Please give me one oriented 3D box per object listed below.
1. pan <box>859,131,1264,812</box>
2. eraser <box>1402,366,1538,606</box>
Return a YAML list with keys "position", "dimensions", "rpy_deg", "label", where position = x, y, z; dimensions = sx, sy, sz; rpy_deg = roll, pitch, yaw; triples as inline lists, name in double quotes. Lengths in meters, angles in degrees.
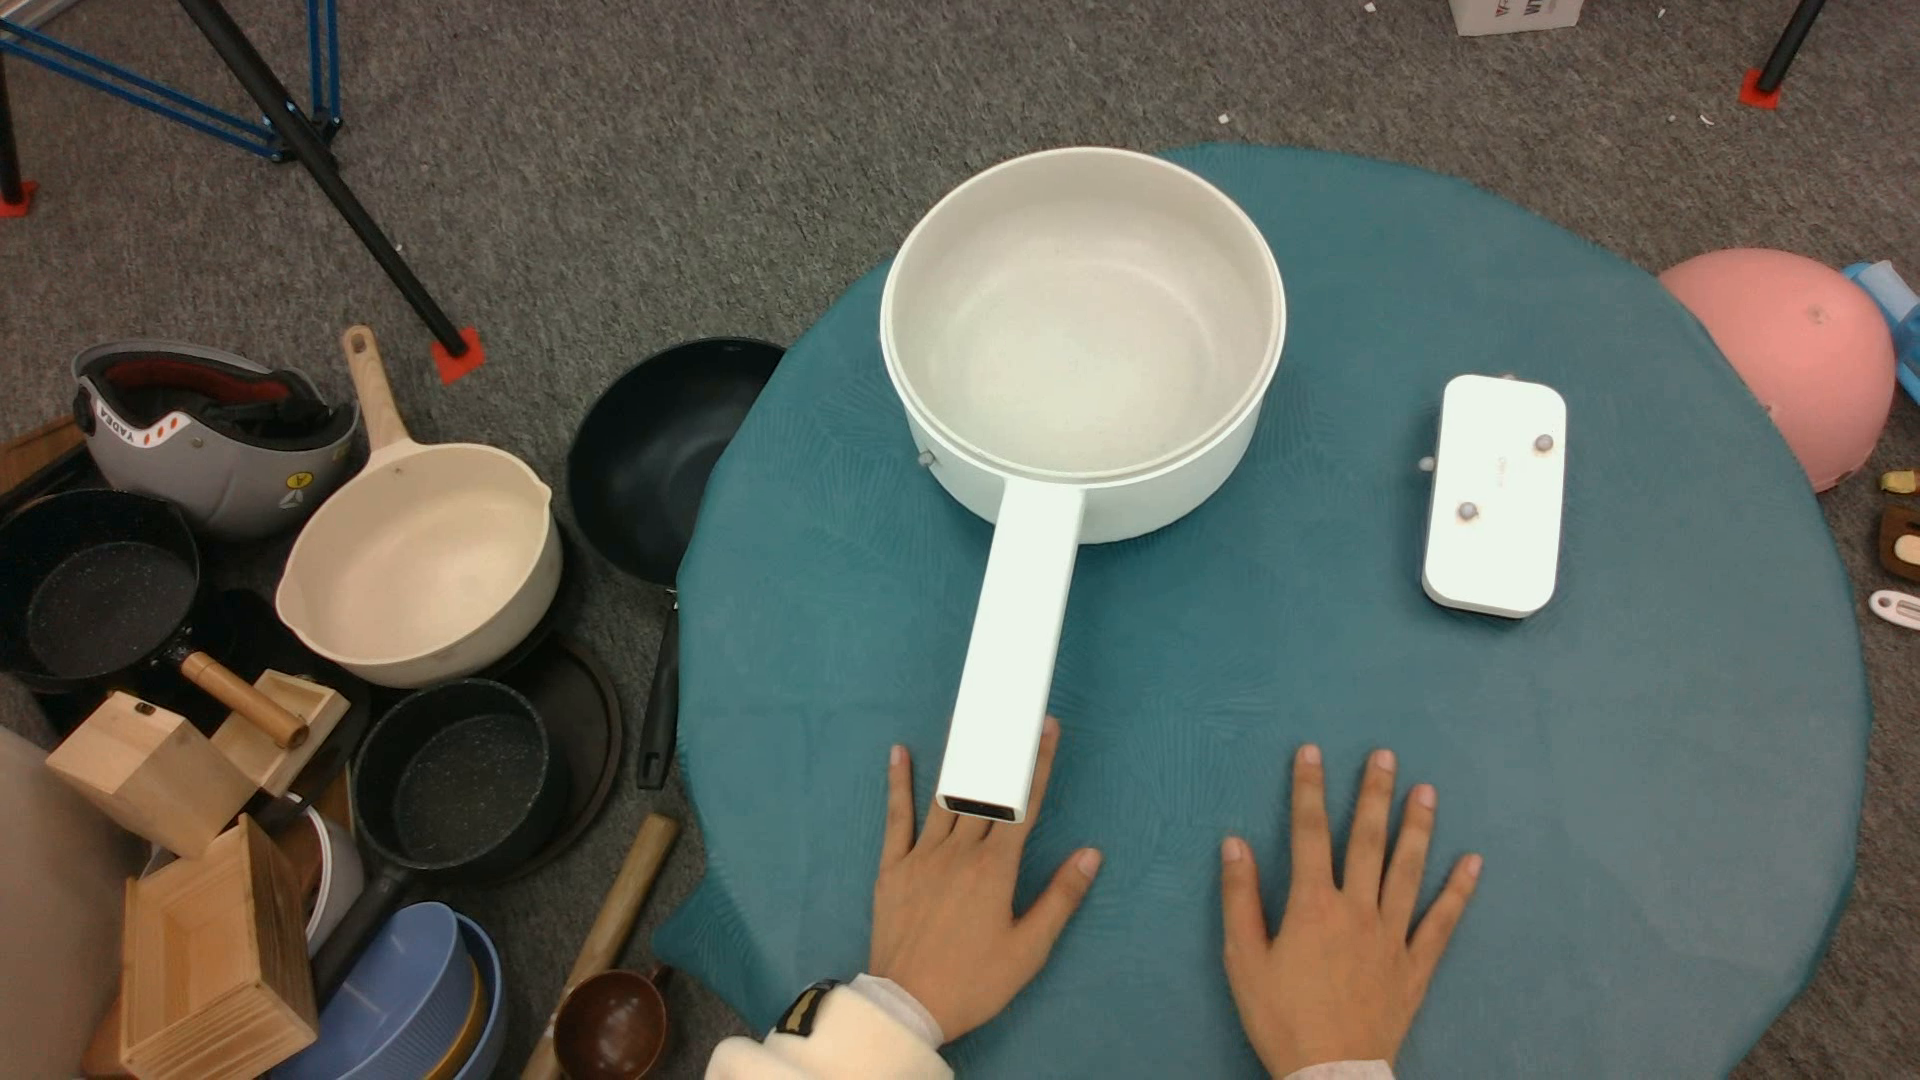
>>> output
- position: [0.039, -0.035, 0.695]
  dimensions: [0.201, 0.102, 0.356]
  rpy_deg: [8, 68, 10]
  label: "pan"
- position: [0.263, -0.031, 0.714]
  dimensions: [0.063, 0.034, 0.132]
  rpy_deg: [9, 66, 11]
  label: "eraser"
